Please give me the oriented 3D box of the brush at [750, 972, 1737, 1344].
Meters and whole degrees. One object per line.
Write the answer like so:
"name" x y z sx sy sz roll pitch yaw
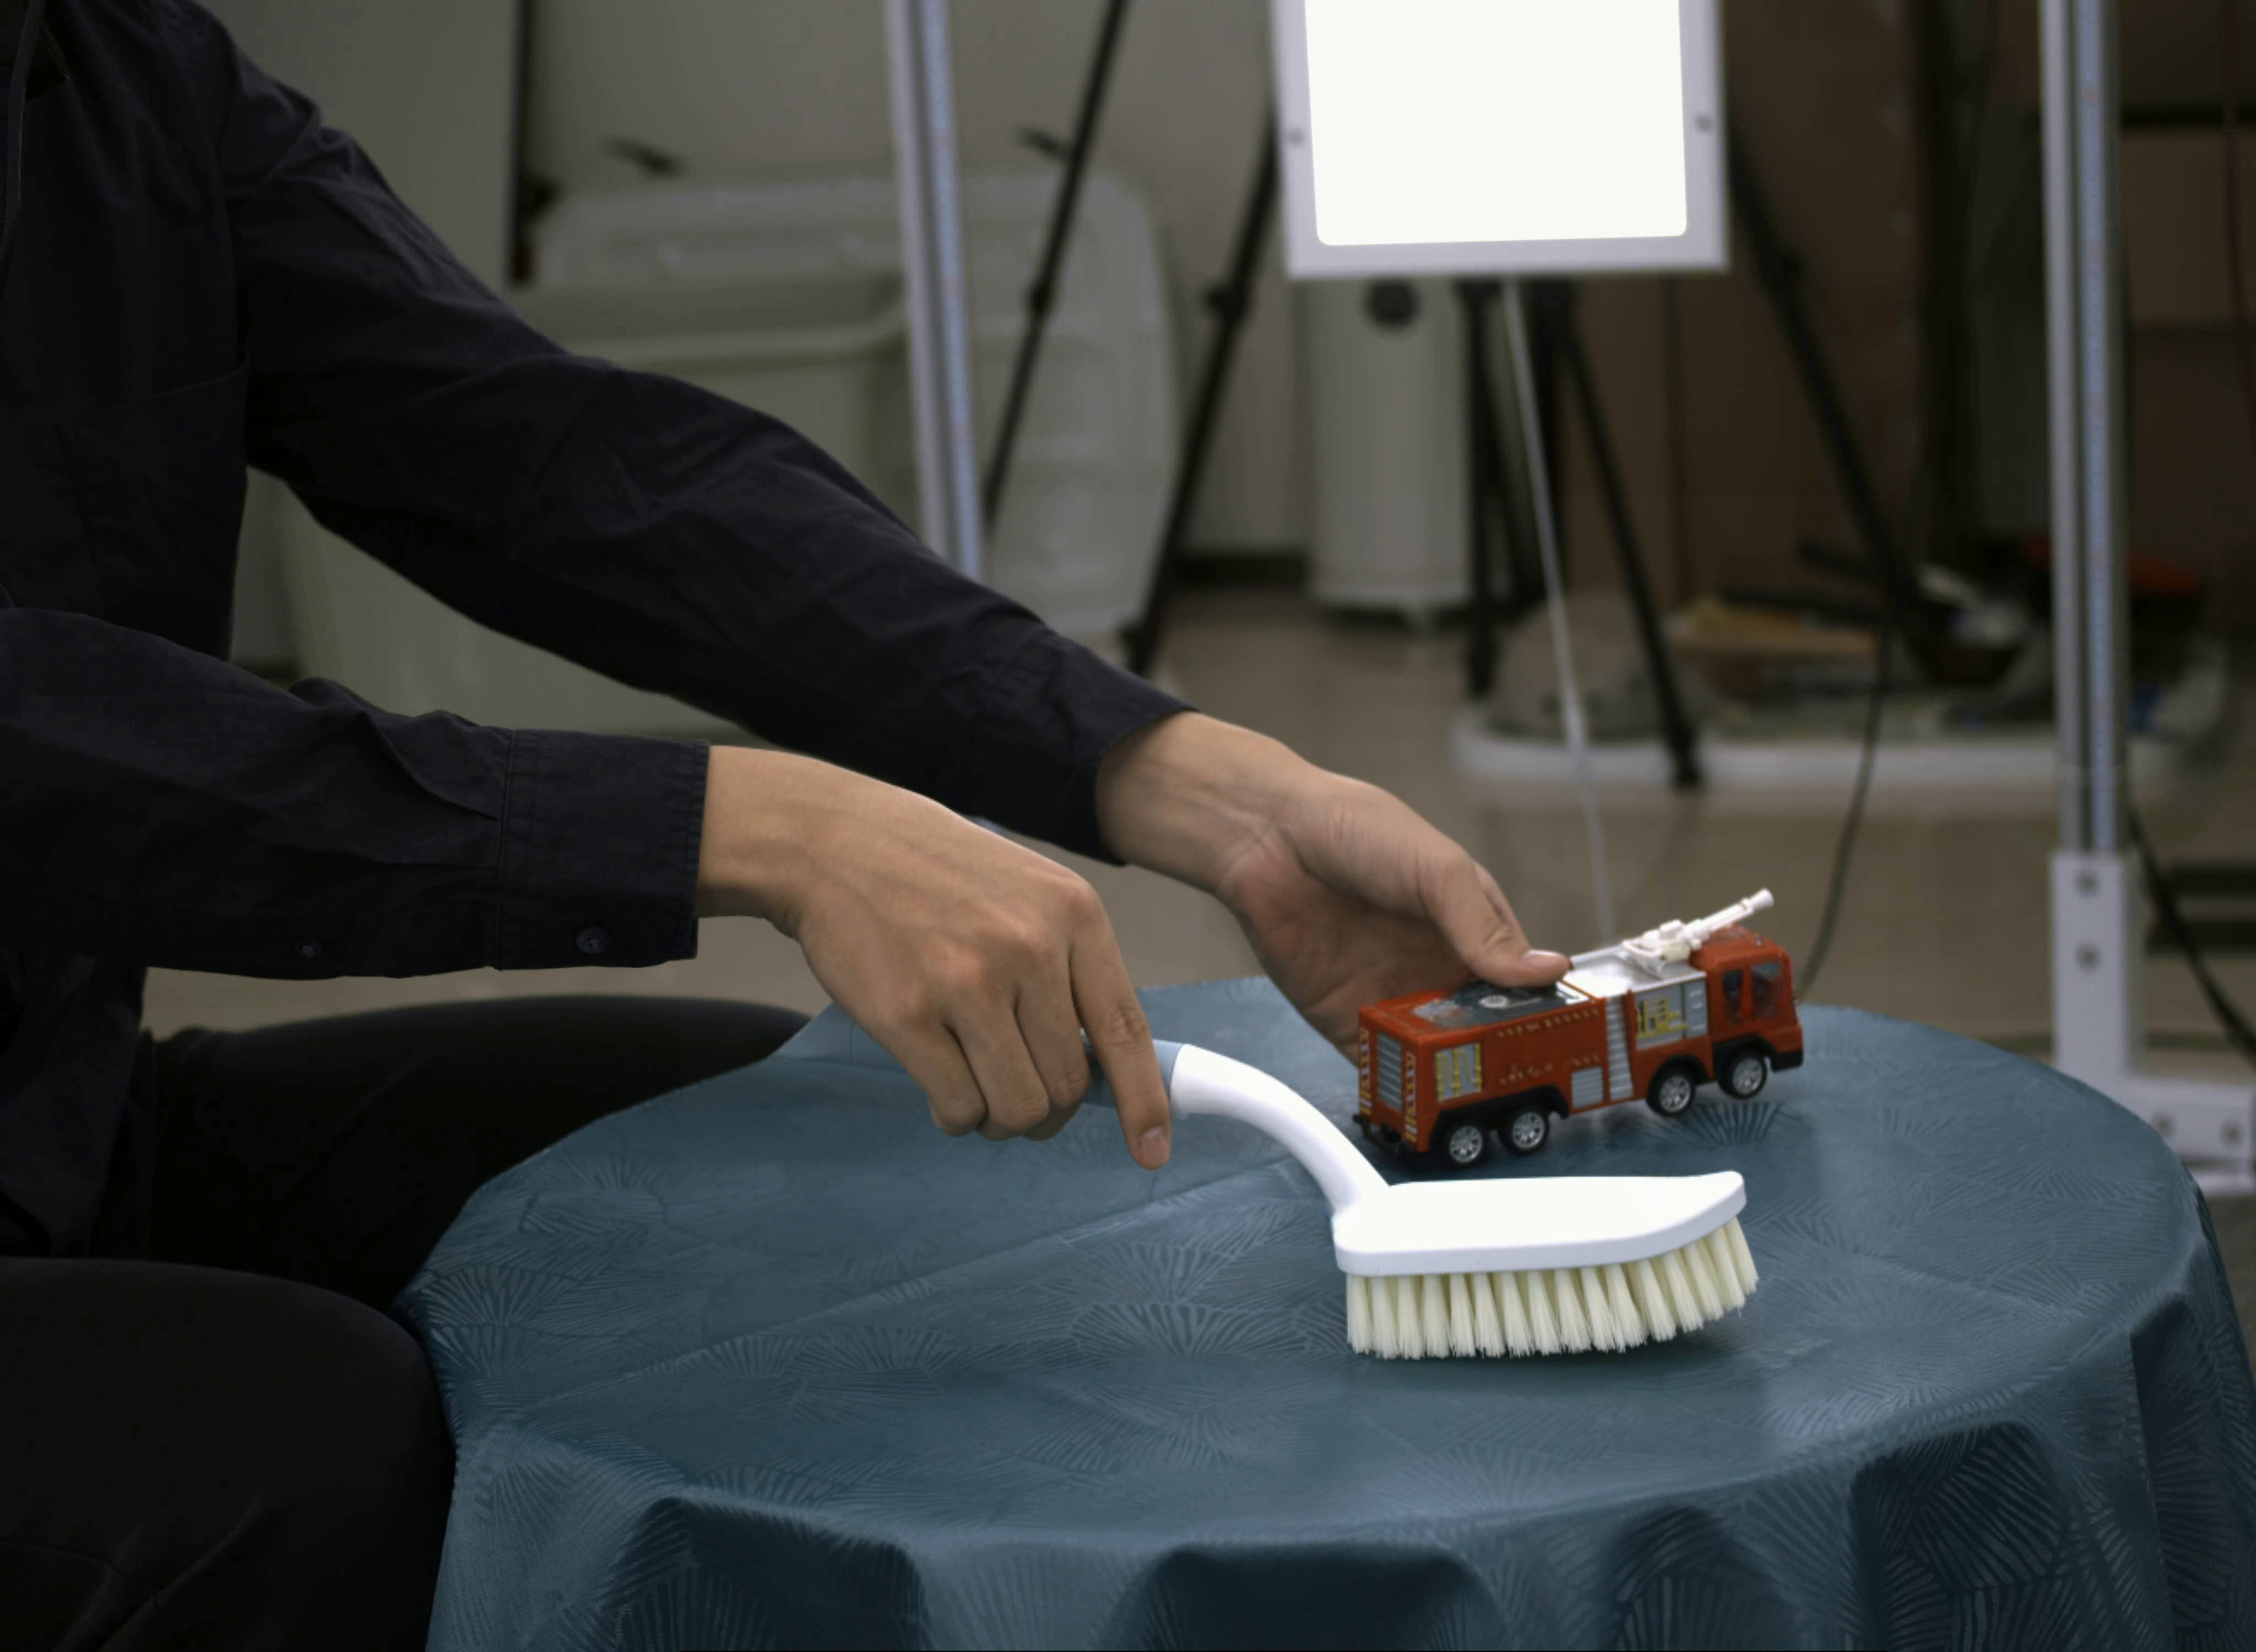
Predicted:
"brush" 0.033 0.118 1.749 0.328 0.084 0.082 9 -21 16

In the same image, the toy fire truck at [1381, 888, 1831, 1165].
"toy fire truck" 0.170 0.072 1.920 0.164 0.070 0.055 -14 19 -23
